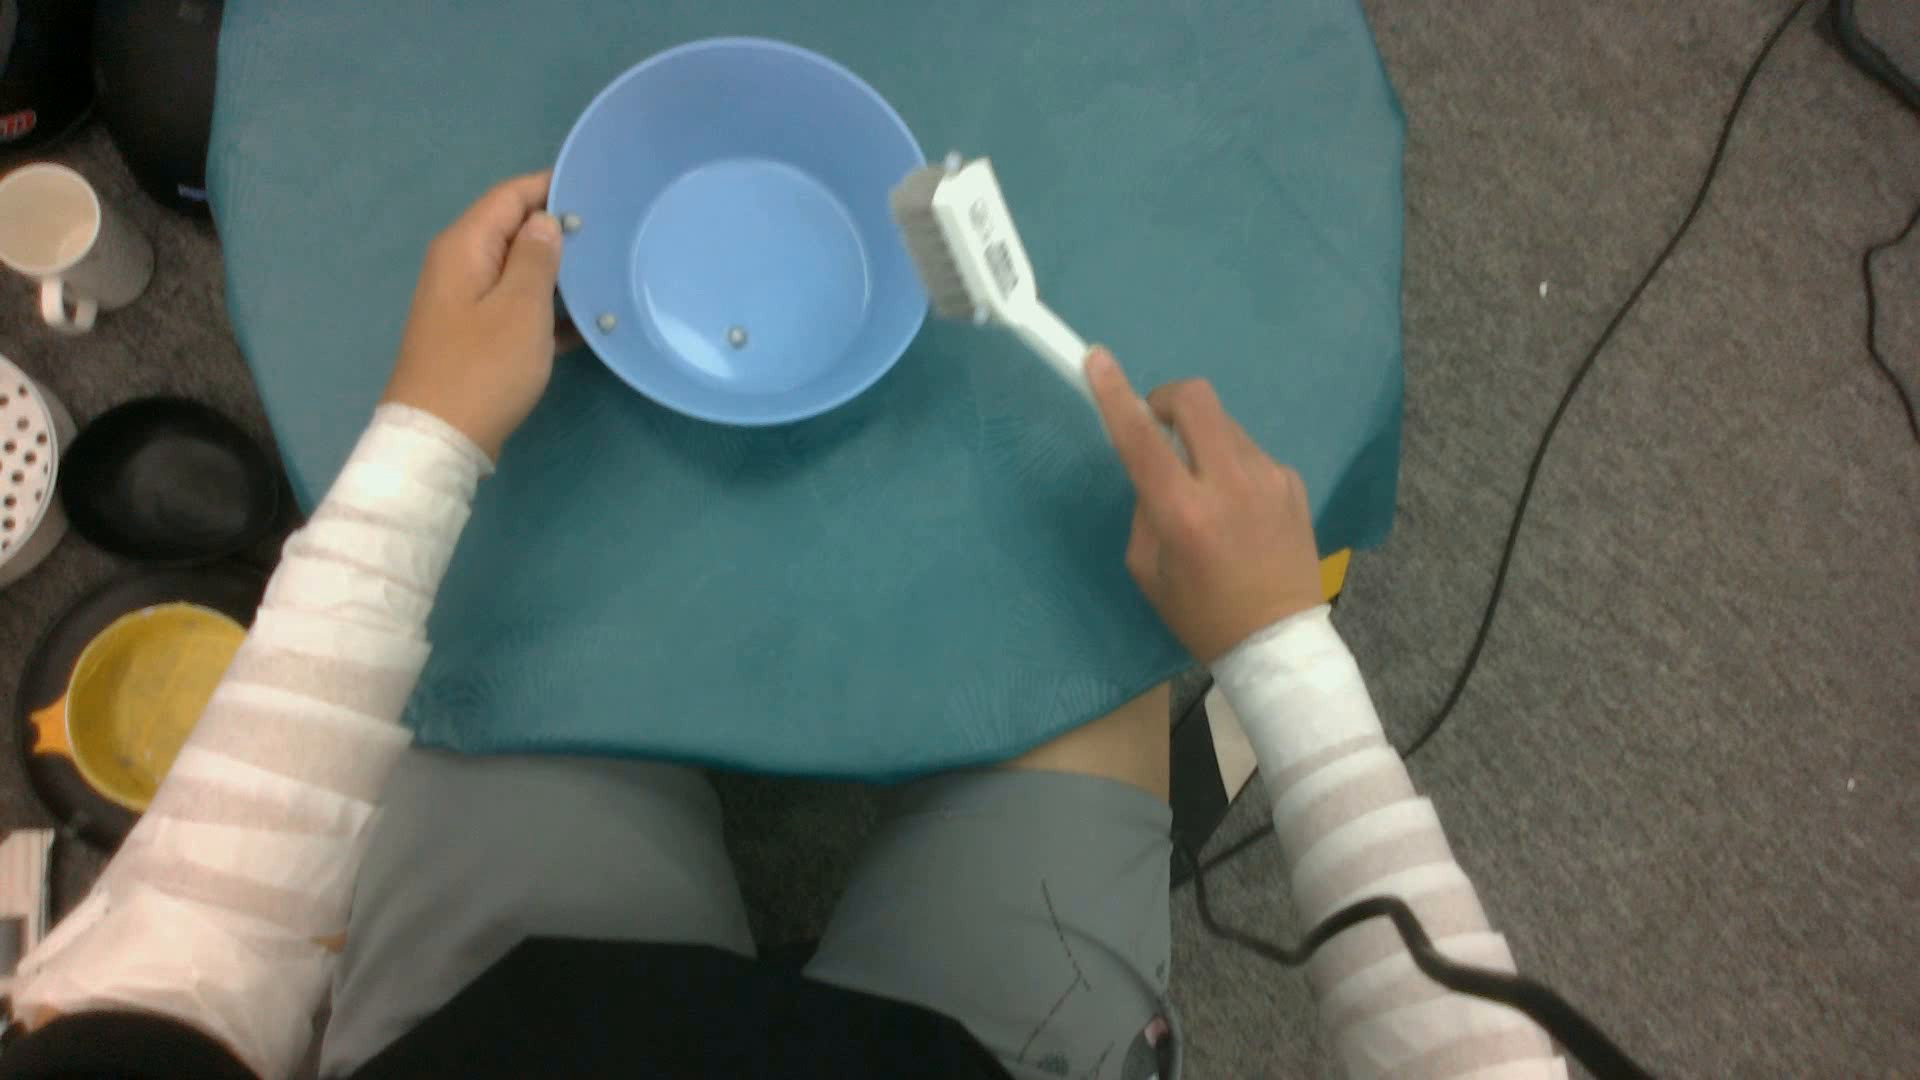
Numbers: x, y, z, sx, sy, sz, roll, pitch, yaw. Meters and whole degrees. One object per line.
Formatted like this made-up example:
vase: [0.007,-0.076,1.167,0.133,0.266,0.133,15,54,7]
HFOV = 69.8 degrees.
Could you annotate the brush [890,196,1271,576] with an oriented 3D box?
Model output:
brush: [0.059,-0.064,0.651,0.243,0.050,0.034,46,50,-19]

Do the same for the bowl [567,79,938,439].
bowl: [-0.096,-0.128,0.671,0.176,0.070,0.176,1,80,-6]
